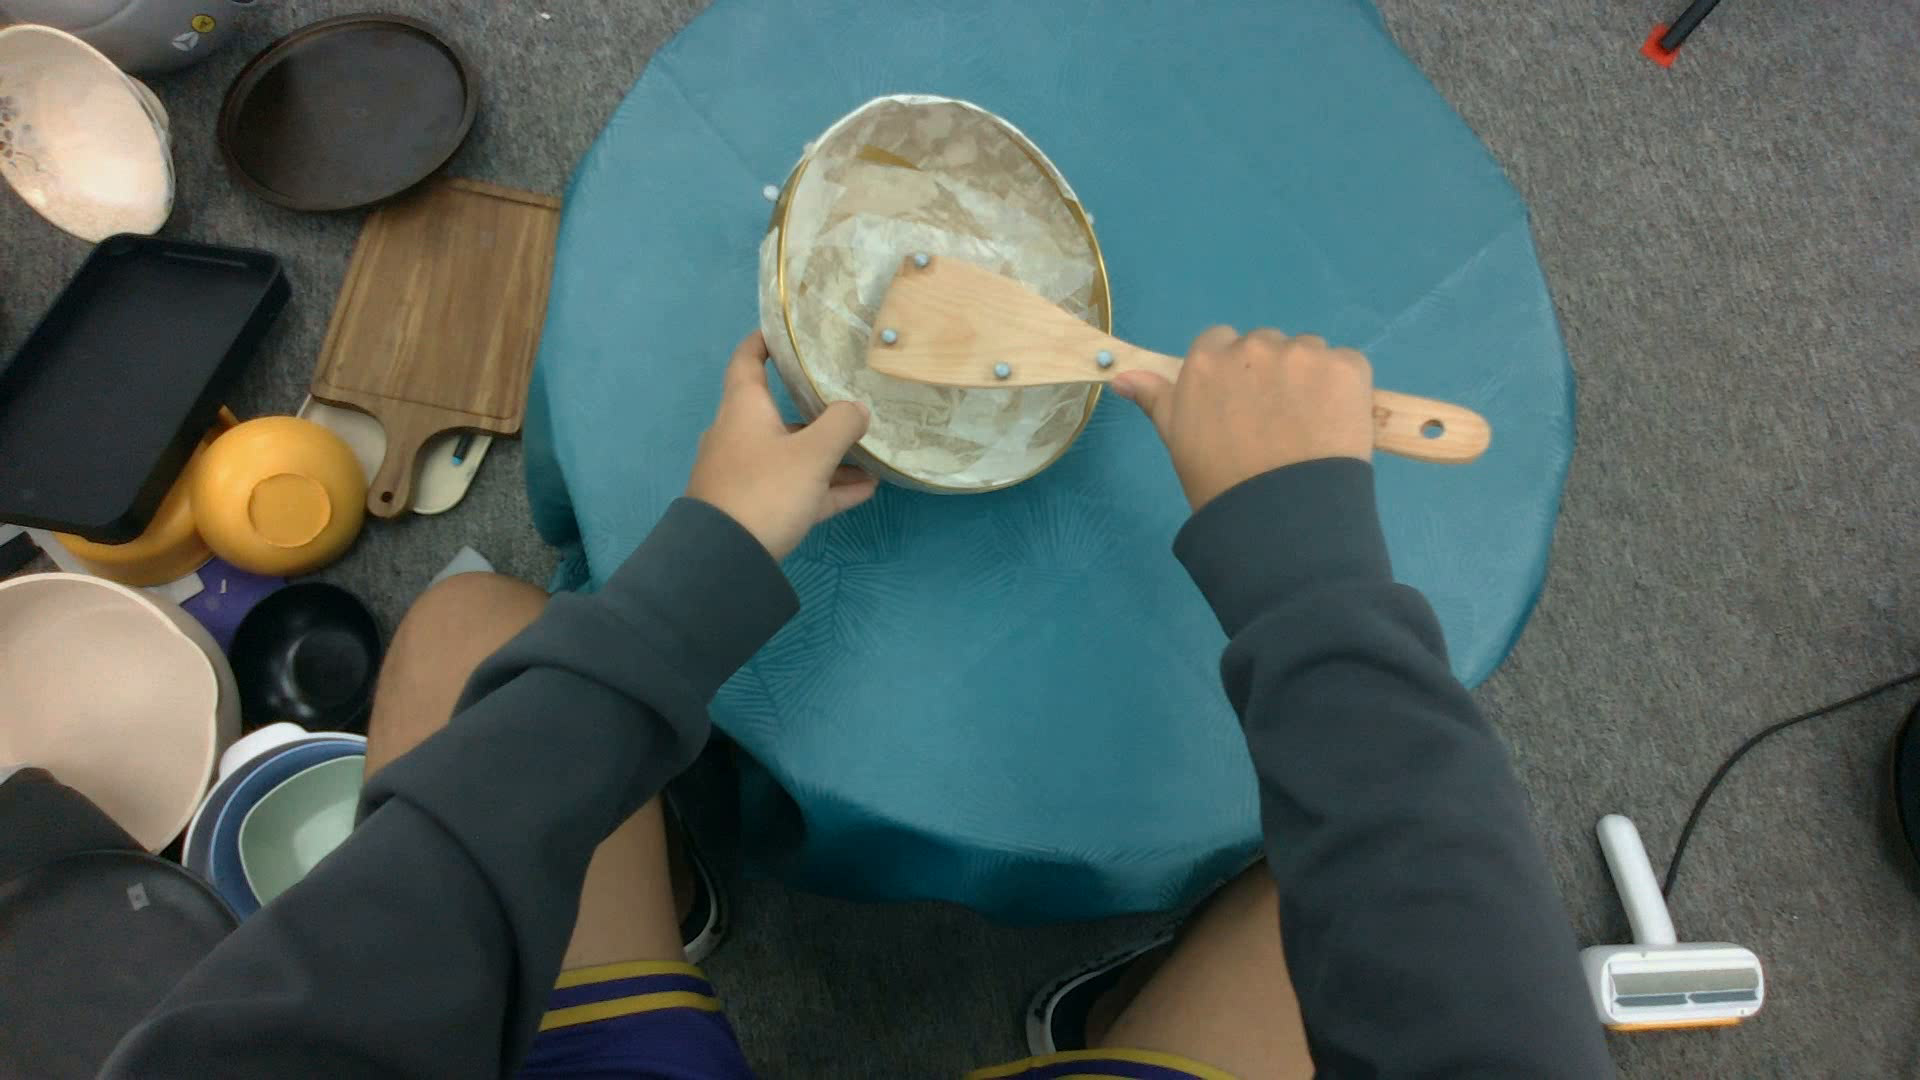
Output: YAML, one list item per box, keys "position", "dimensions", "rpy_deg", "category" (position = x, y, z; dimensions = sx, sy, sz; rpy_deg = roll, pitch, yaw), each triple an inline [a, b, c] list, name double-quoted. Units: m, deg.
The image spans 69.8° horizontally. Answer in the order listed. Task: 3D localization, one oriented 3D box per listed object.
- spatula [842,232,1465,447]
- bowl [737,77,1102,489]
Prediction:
- position: [0.079, -0.092, 0.668]
  dimensions: [0.327, 0.016, 0.080]
  rpy_deg: [18, 70, 30]
  category: "spatula"
- position: [-0.036, -0.126, 0.726]
  dimensions: [0.215, 0.094, 0.215]
  rpy_deg: [5, 82, -34]
  category: "bowl"
